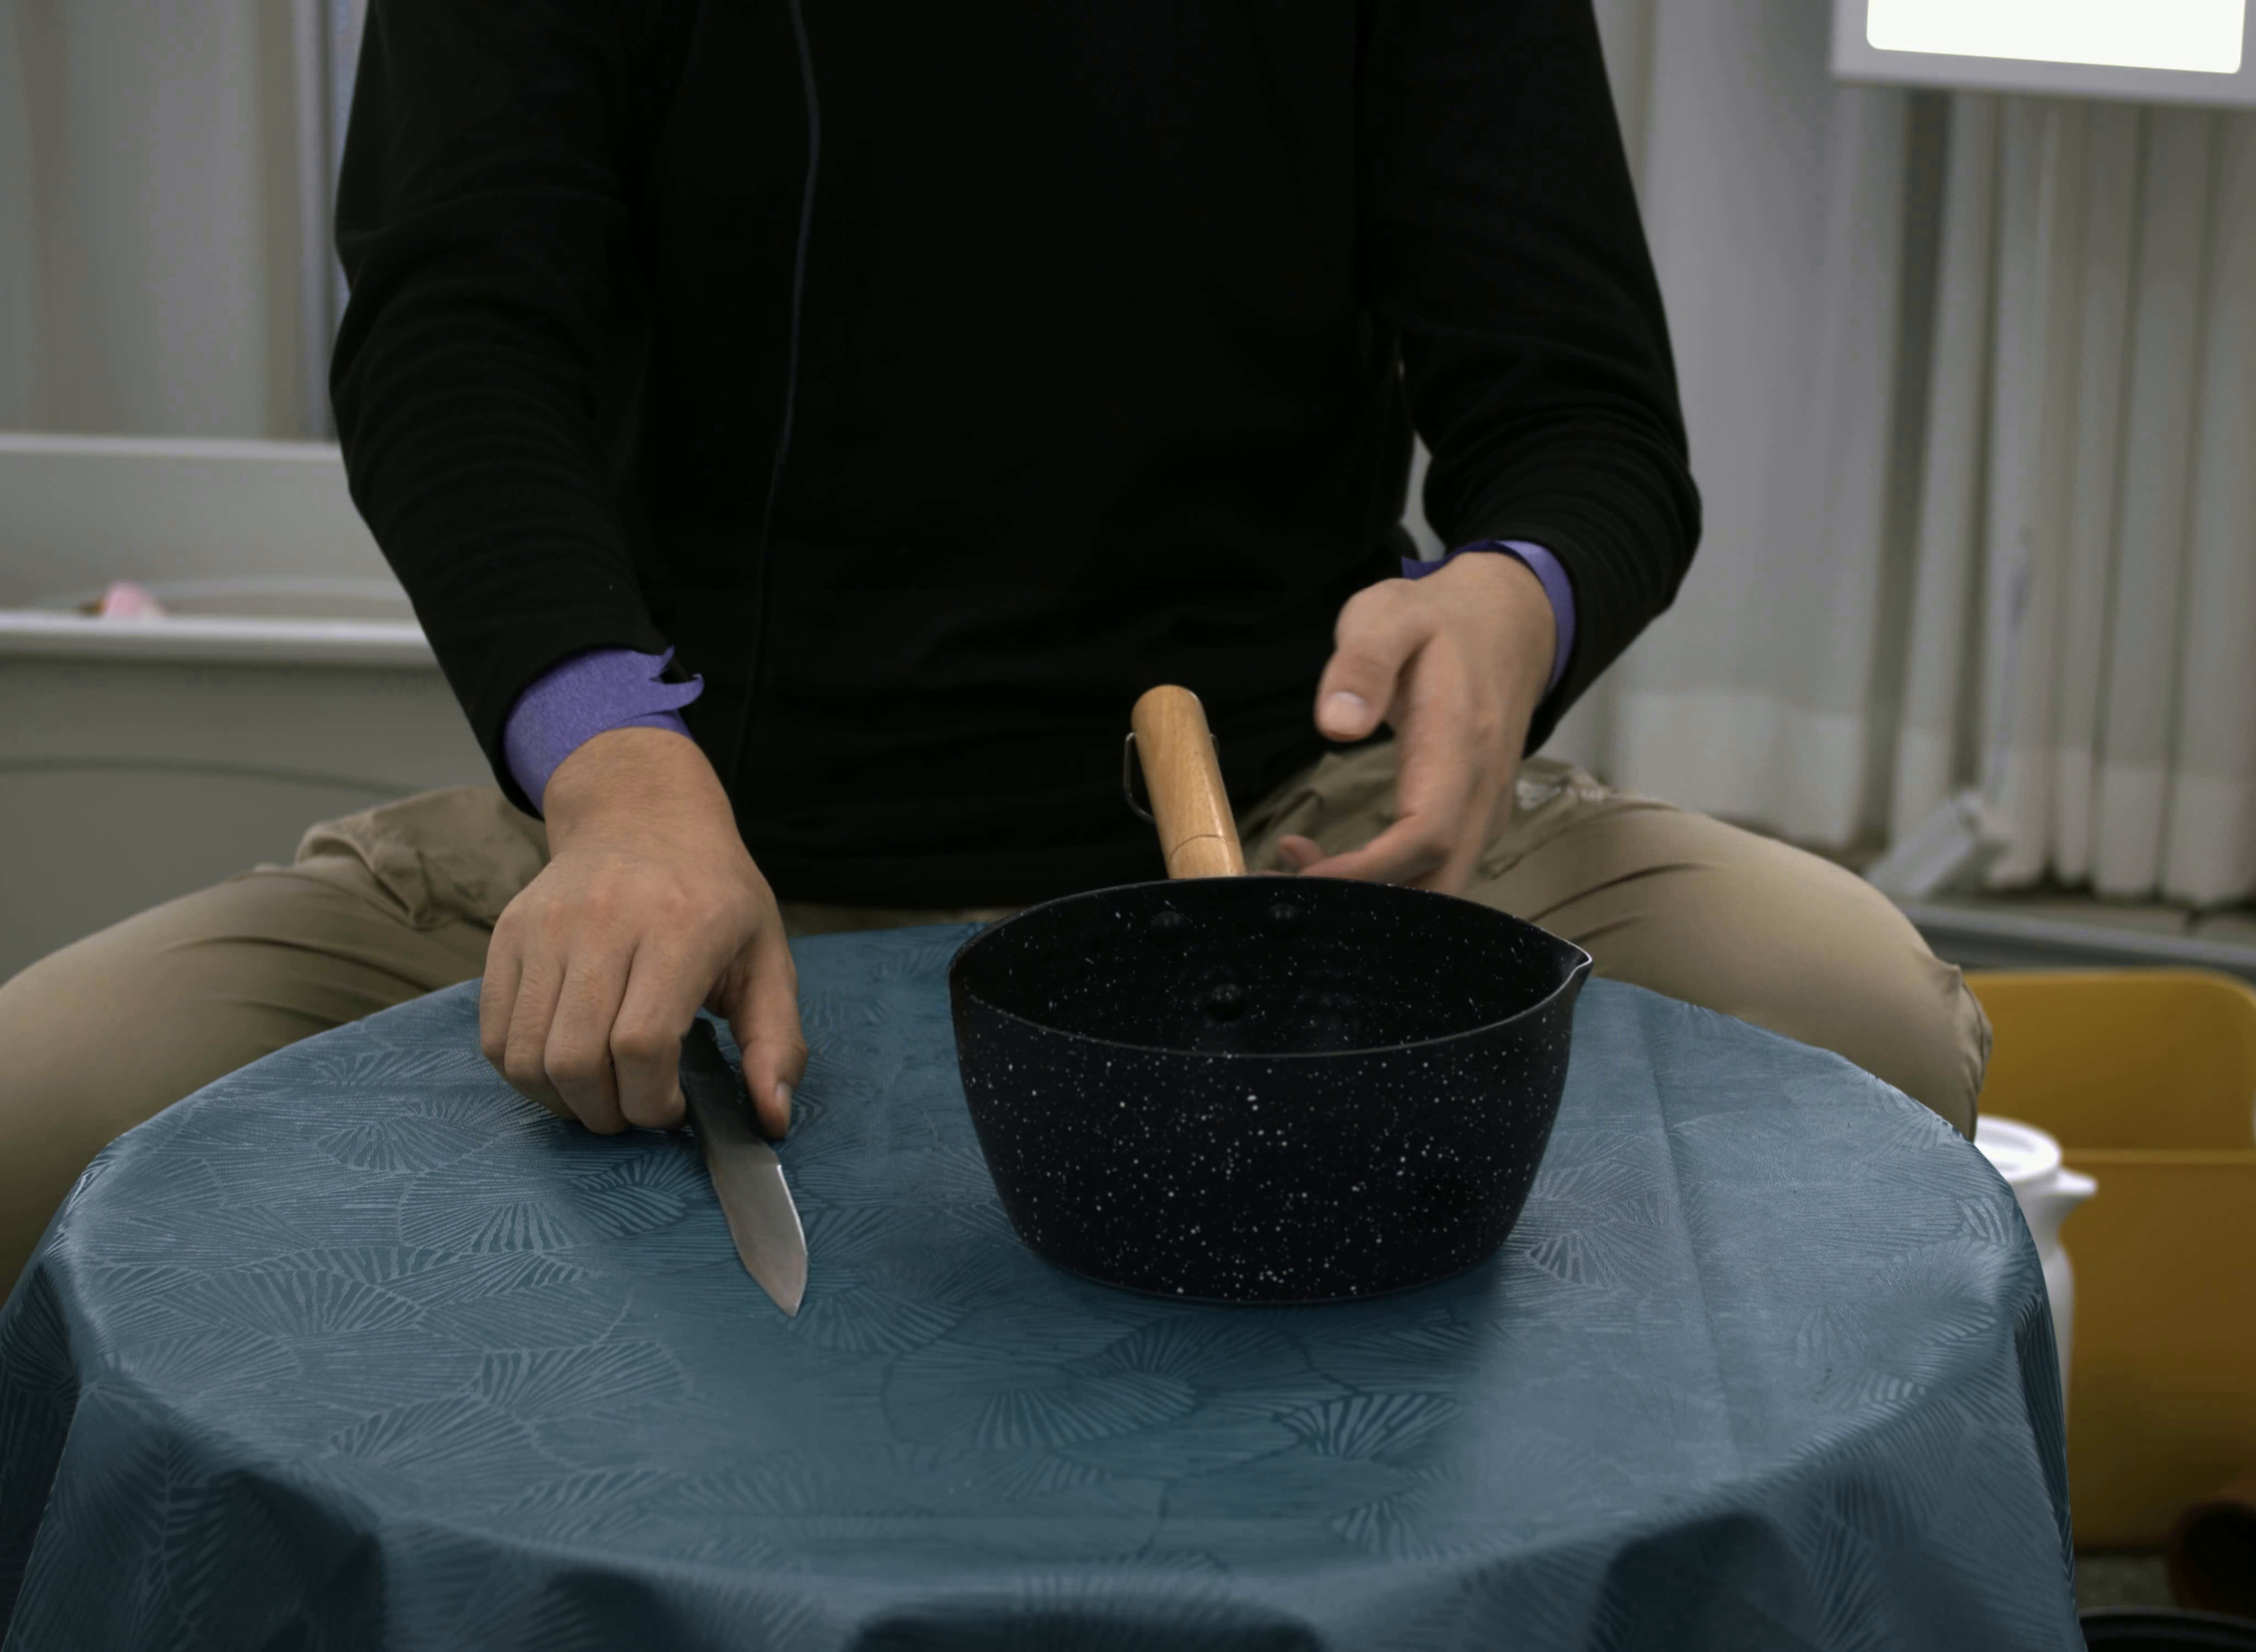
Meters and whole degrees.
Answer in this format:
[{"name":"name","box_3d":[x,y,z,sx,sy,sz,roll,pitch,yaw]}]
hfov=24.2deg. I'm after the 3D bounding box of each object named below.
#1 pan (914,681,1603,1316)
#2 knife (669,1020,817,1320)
[{"name":"pan","box_3d":[0.031,0.049,1.655,0.207,0.109,0.340,-2,17,-7]},{"name":"knife","box_3d":[-0.120,0.105,1.623,0.024,0.016,0.236,-5,19,-11]}]
